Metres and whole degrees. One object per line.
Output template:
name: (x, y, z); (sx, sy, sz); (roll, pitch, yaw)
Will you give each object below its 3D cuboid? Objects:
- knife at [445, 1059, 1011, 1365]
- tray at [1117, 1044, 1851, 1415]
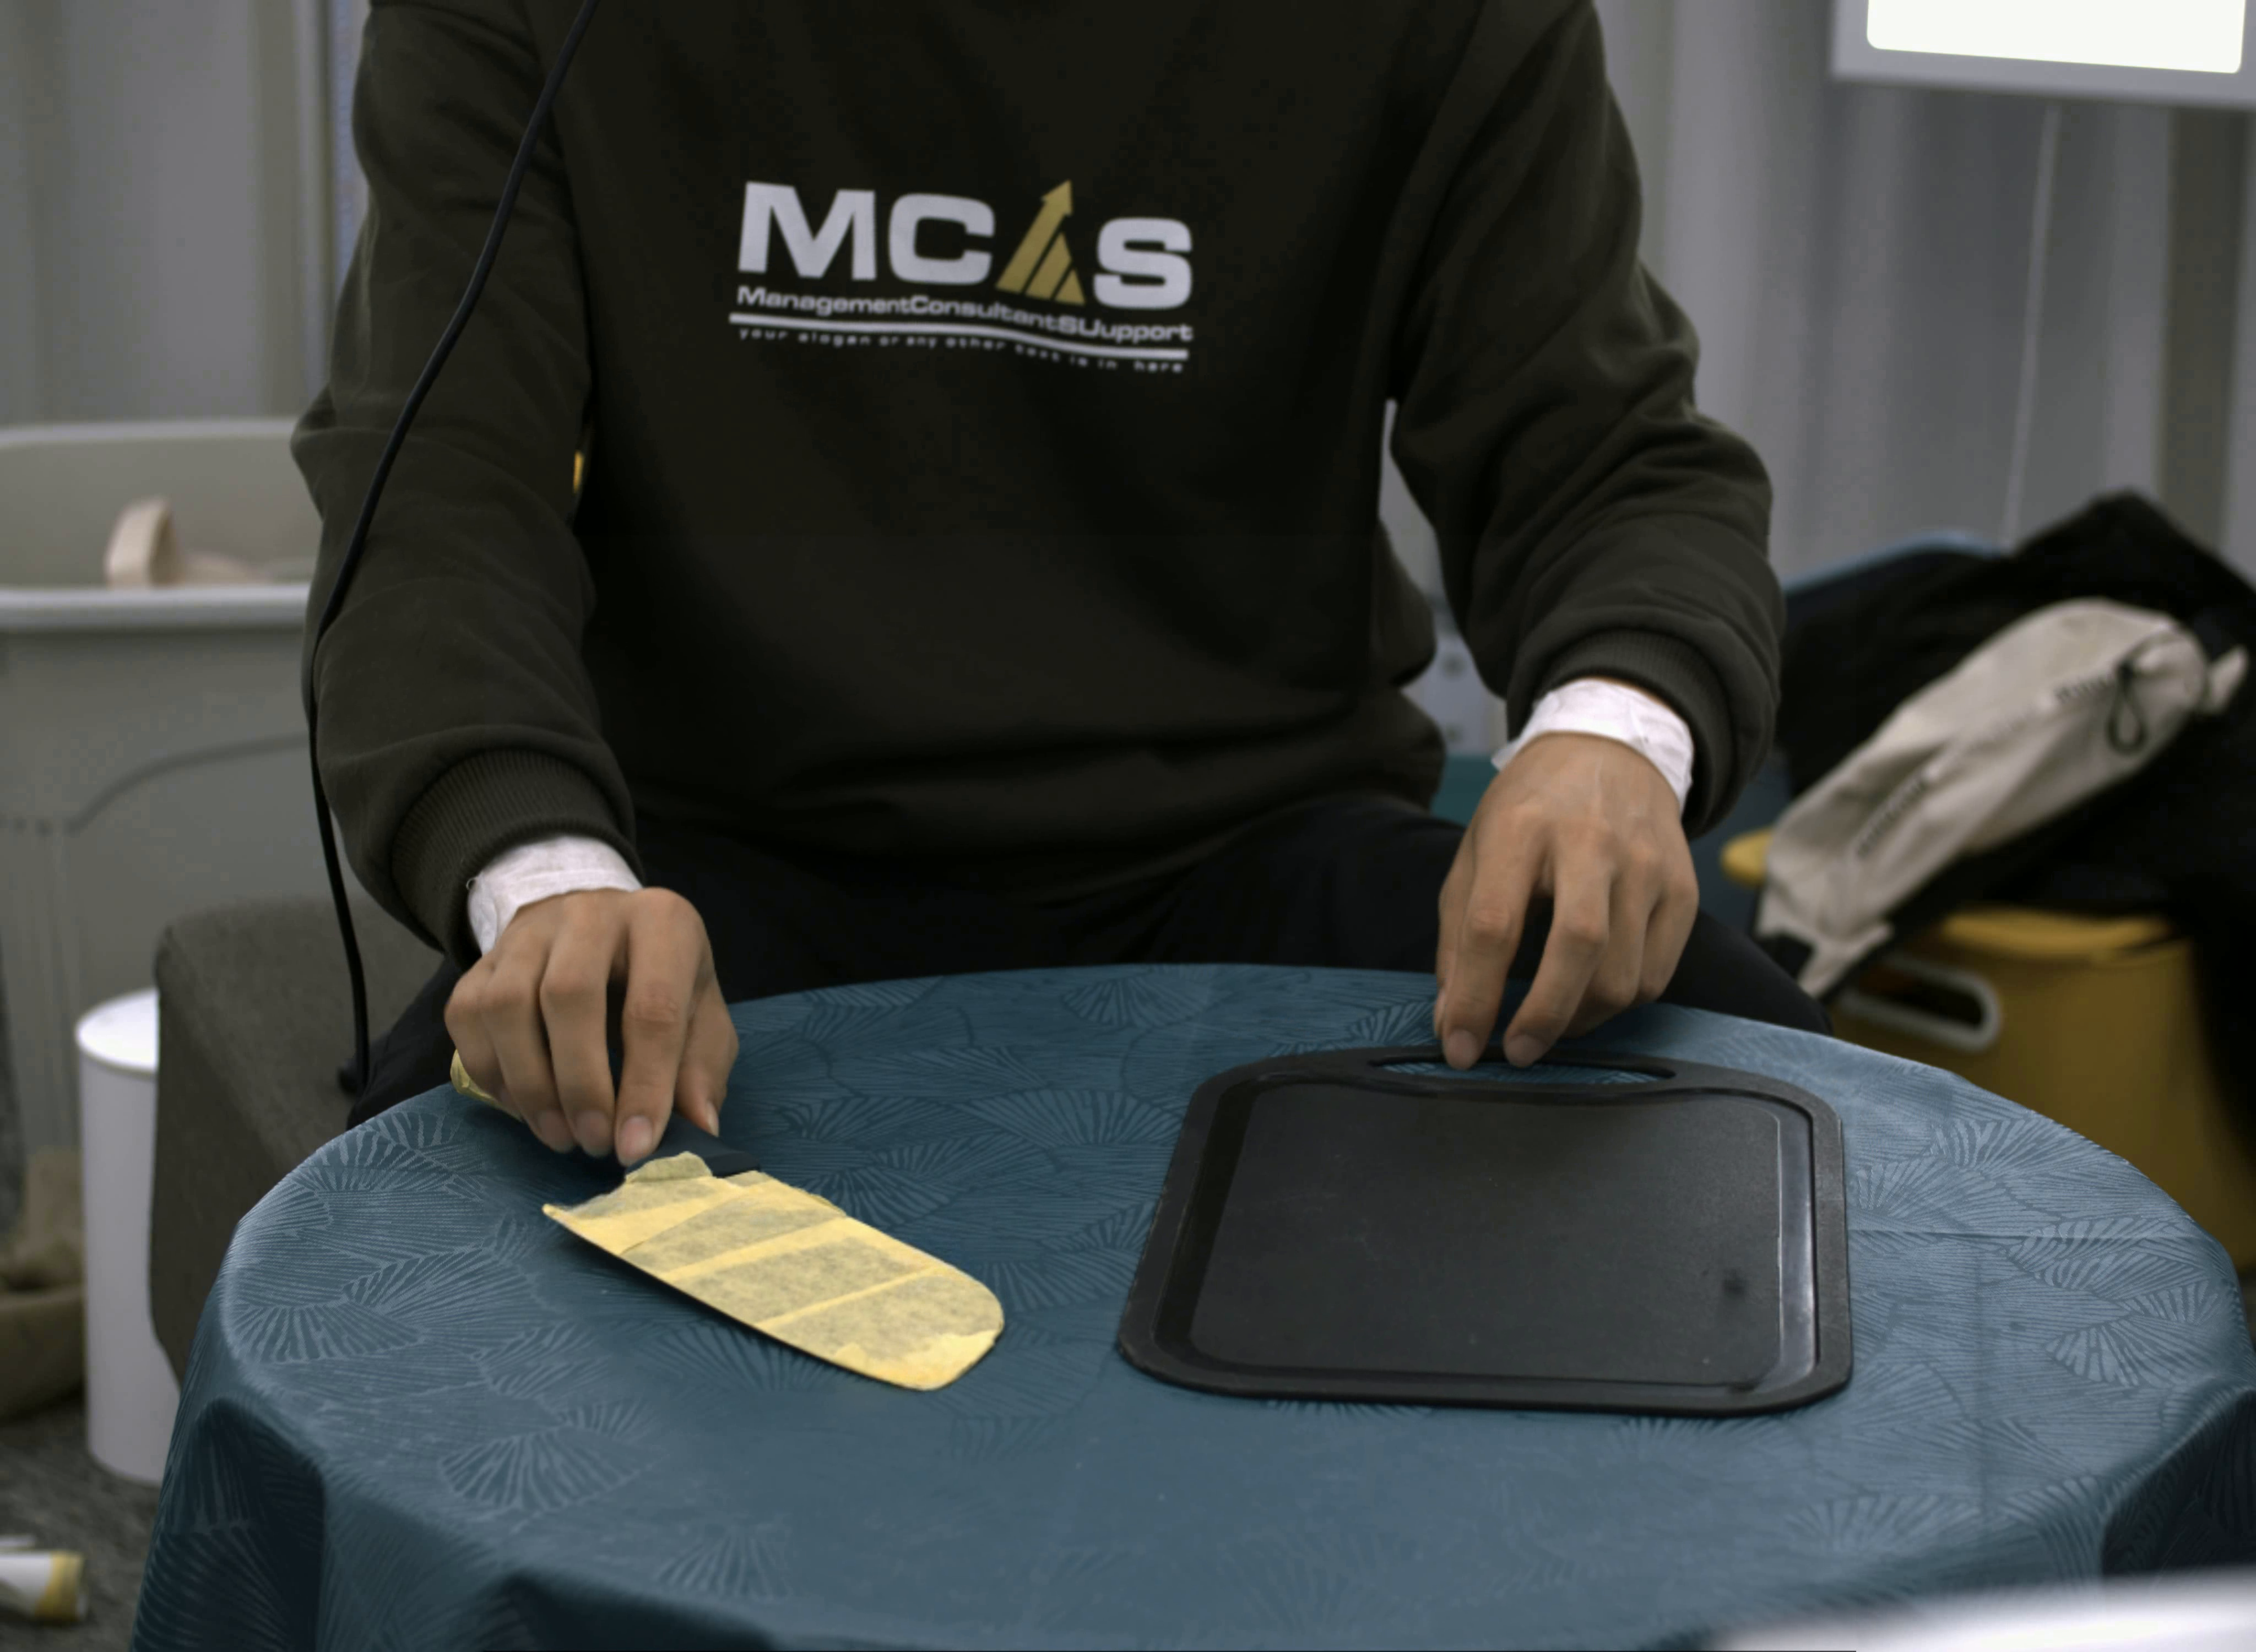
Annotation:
knife: (-0.132, 0.117, 1.577); (0.081, 0.027, 0.285); (-9, 19, -37)
tray: (0.114, 0.115, 1.605); (0.210, 0.010, 0.324); (2, 15, 6)
